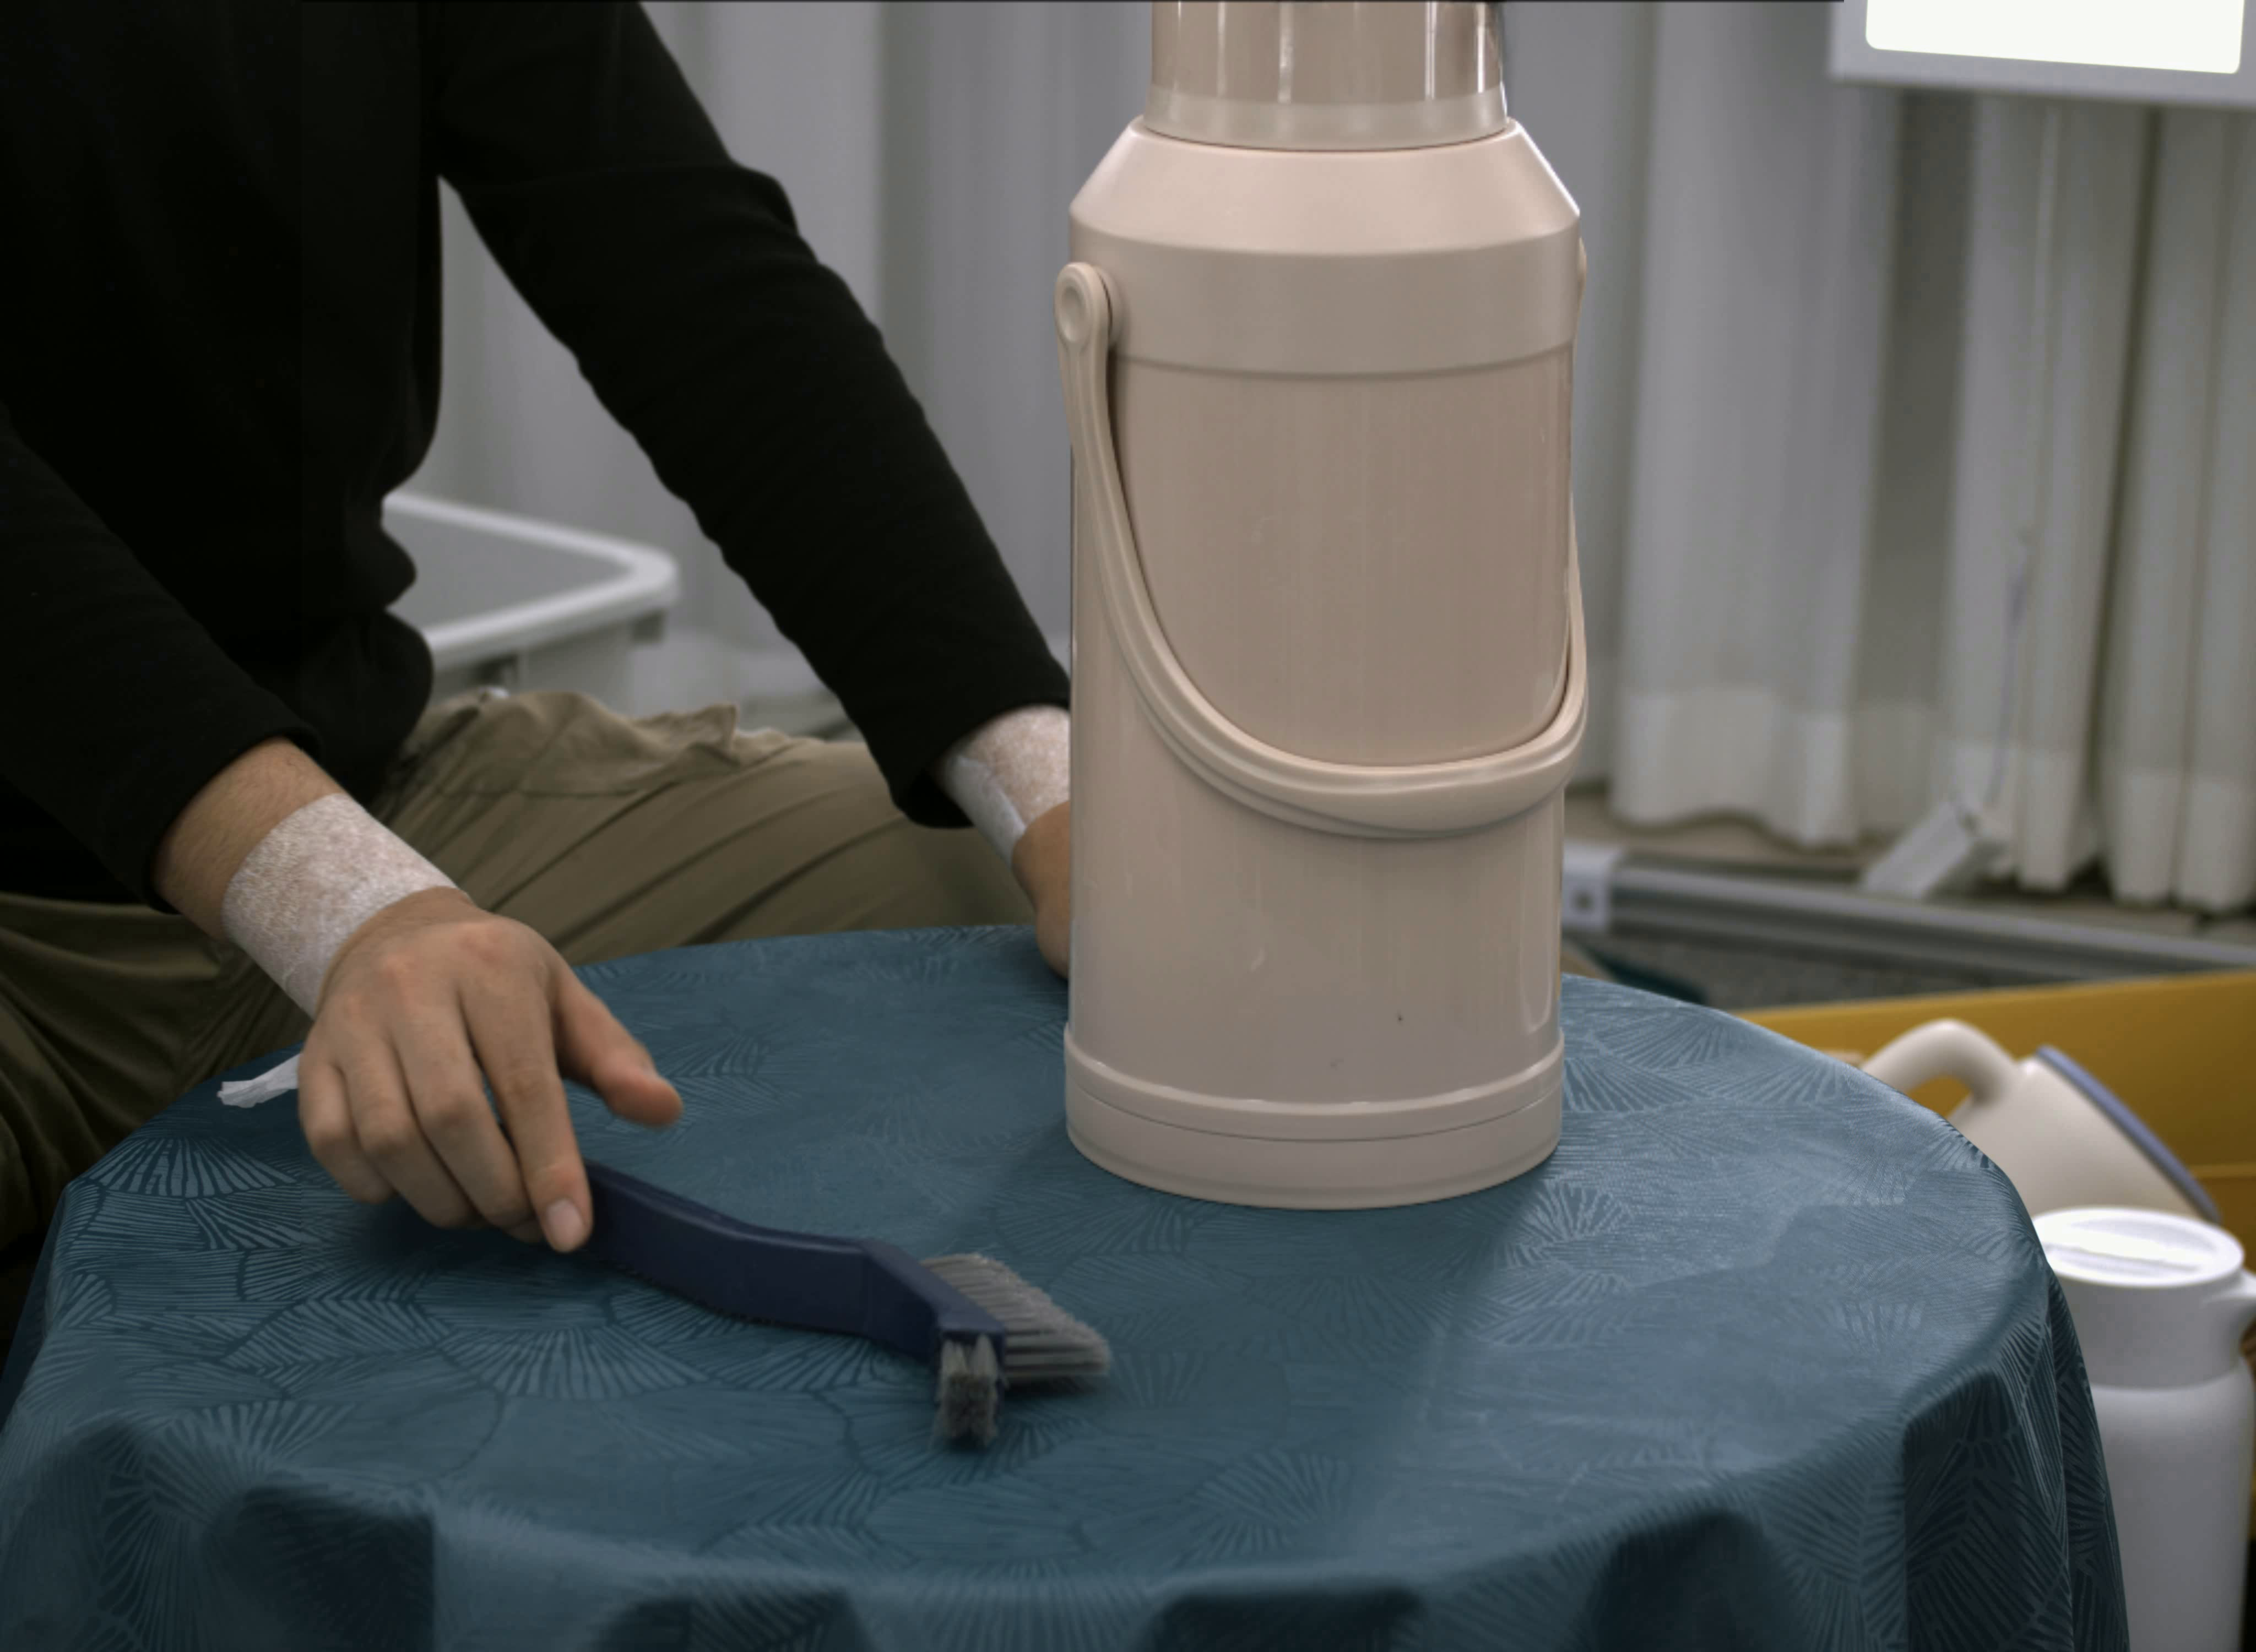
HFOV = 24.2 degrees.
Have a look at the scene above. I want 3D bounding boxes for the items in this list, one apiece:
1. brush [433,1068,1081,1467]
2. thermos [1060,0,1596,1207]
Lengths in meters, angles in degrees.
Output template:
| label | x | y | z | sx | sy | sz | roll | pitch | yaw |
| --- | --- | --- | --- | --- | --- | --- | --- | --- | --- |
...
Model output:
| label | x | y | z | sx | sy | sz | roll | pitch | yaw |
| --- | --- | --- | --- | --- | --- | --- | --- | --- | --- |
| brush | -0.126 | 0.123 | 1.515 | 0.269 | 0.034 | 0.096 | 15 | 20 | 36 |
| thermos | 0.056 | -0.099 | 1.638 | 0.176 | 0.410 | 0.204 | -10 | 20 | -28 |
